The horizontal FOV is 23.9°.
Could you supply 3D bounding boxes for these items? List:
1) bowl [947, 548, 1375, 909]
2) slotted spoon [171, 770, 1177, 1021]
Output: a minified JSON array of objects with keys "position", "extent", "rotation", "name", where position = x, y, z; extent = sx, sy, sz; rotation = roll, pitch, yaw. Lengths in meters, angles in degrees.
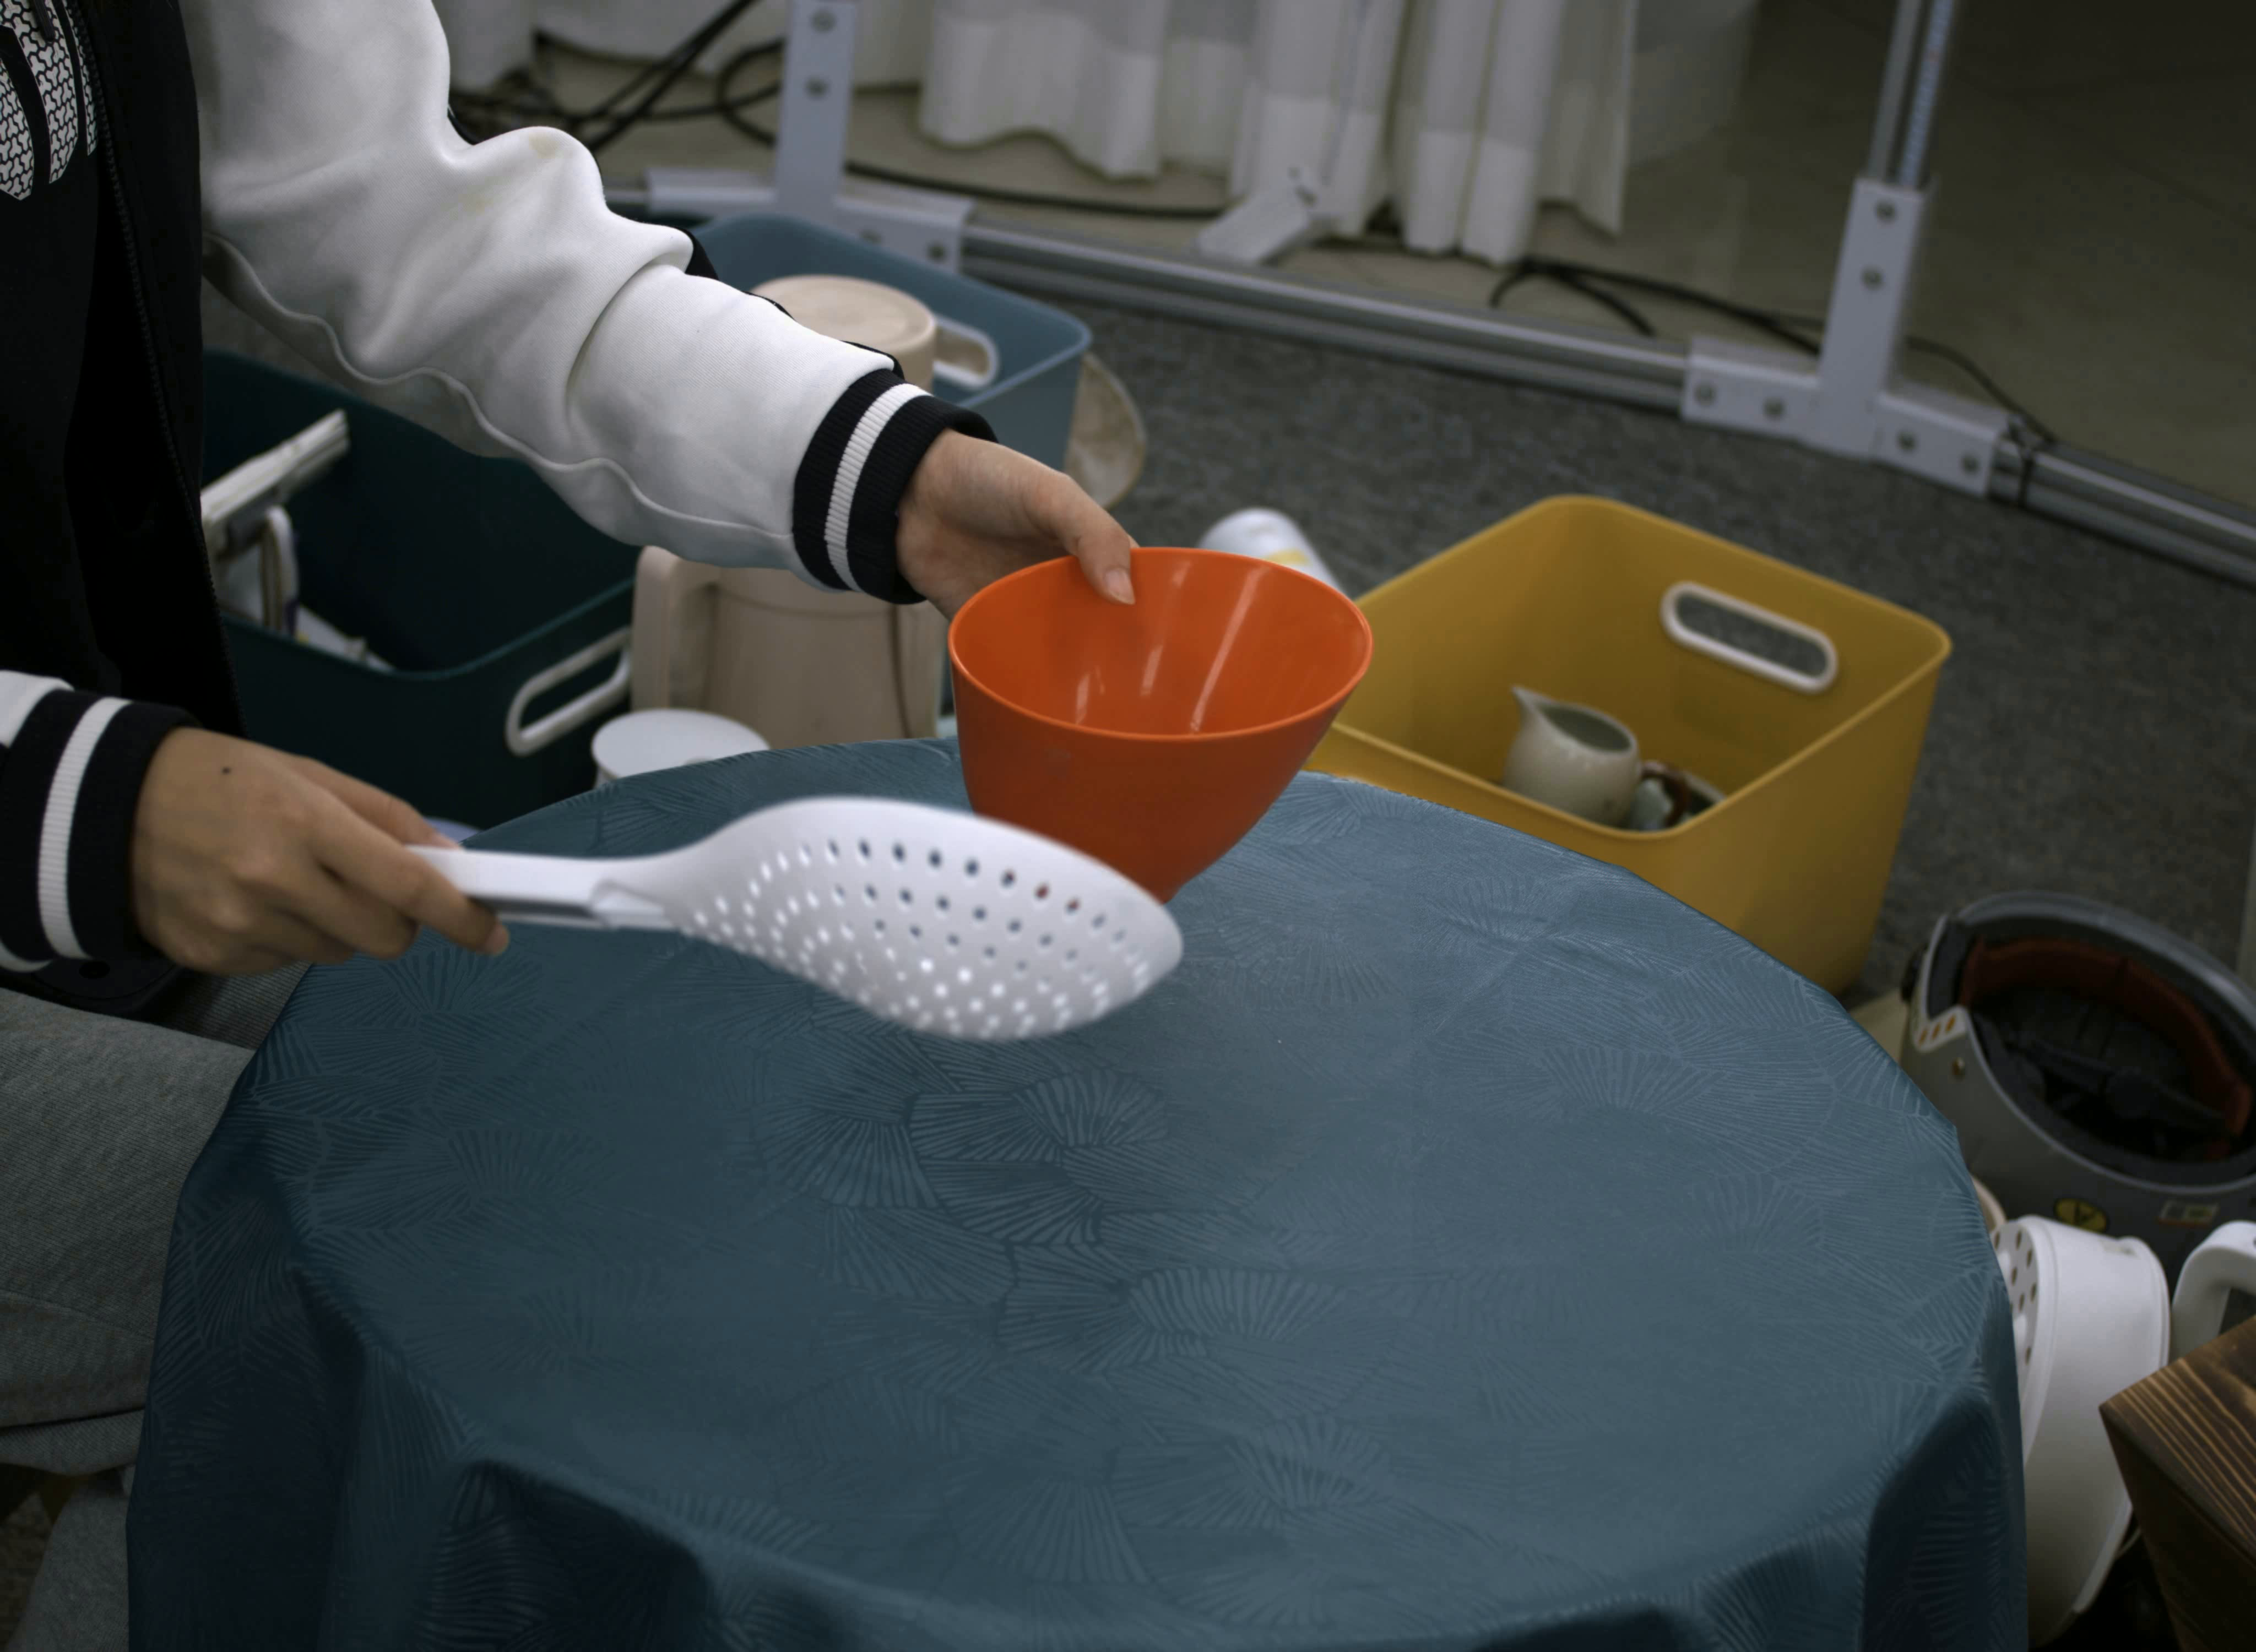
[{"position":[0.005,-0.028,1.870],"extent":[0.147,0.104,0.149],"rotation":[8,27,-5],"name":"bowl"},{"position":[-0.148,0.017,1.623],"extent":[0.351,0.135,0.046],"rotation":[8,68,30],"name":"slotted spoon"}]
